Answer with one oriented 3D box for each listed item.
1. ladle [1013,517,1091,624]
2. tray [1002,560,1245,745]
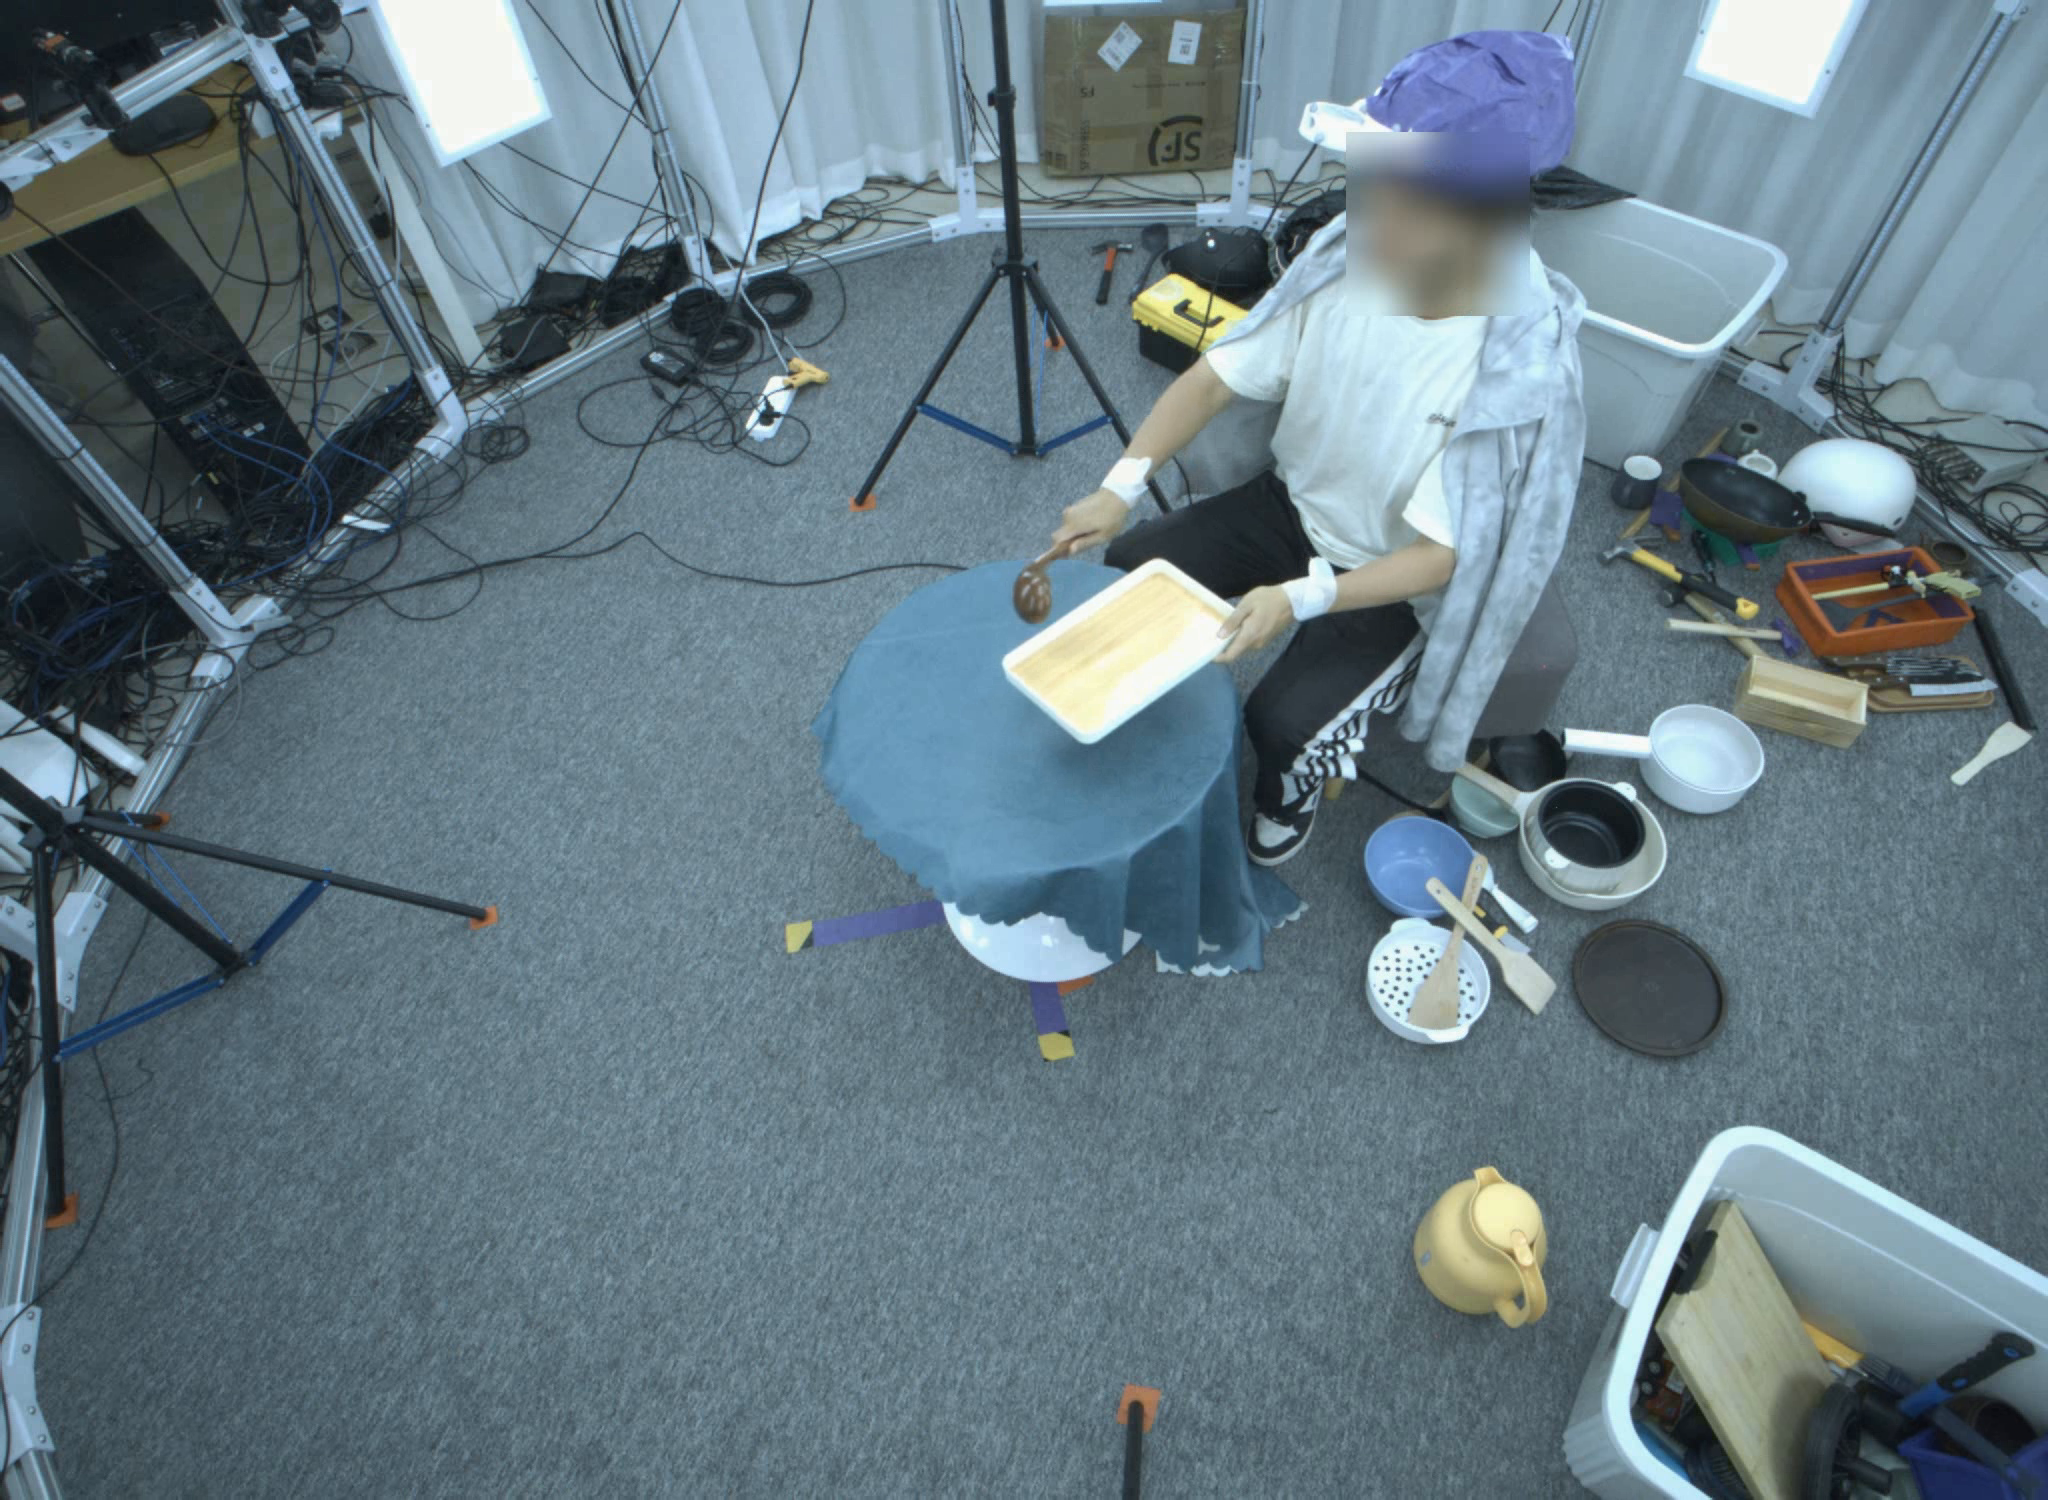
[{"bbox_3d":[0.060,-0.265,1.757,0.076,0.081,0.276,38,41,5],"label":"ladle"},{"bbox_3d":[0.138,-0.140,1.696,0.302,0.028,0.187,-35,56,-19],"label":"tray"}]
